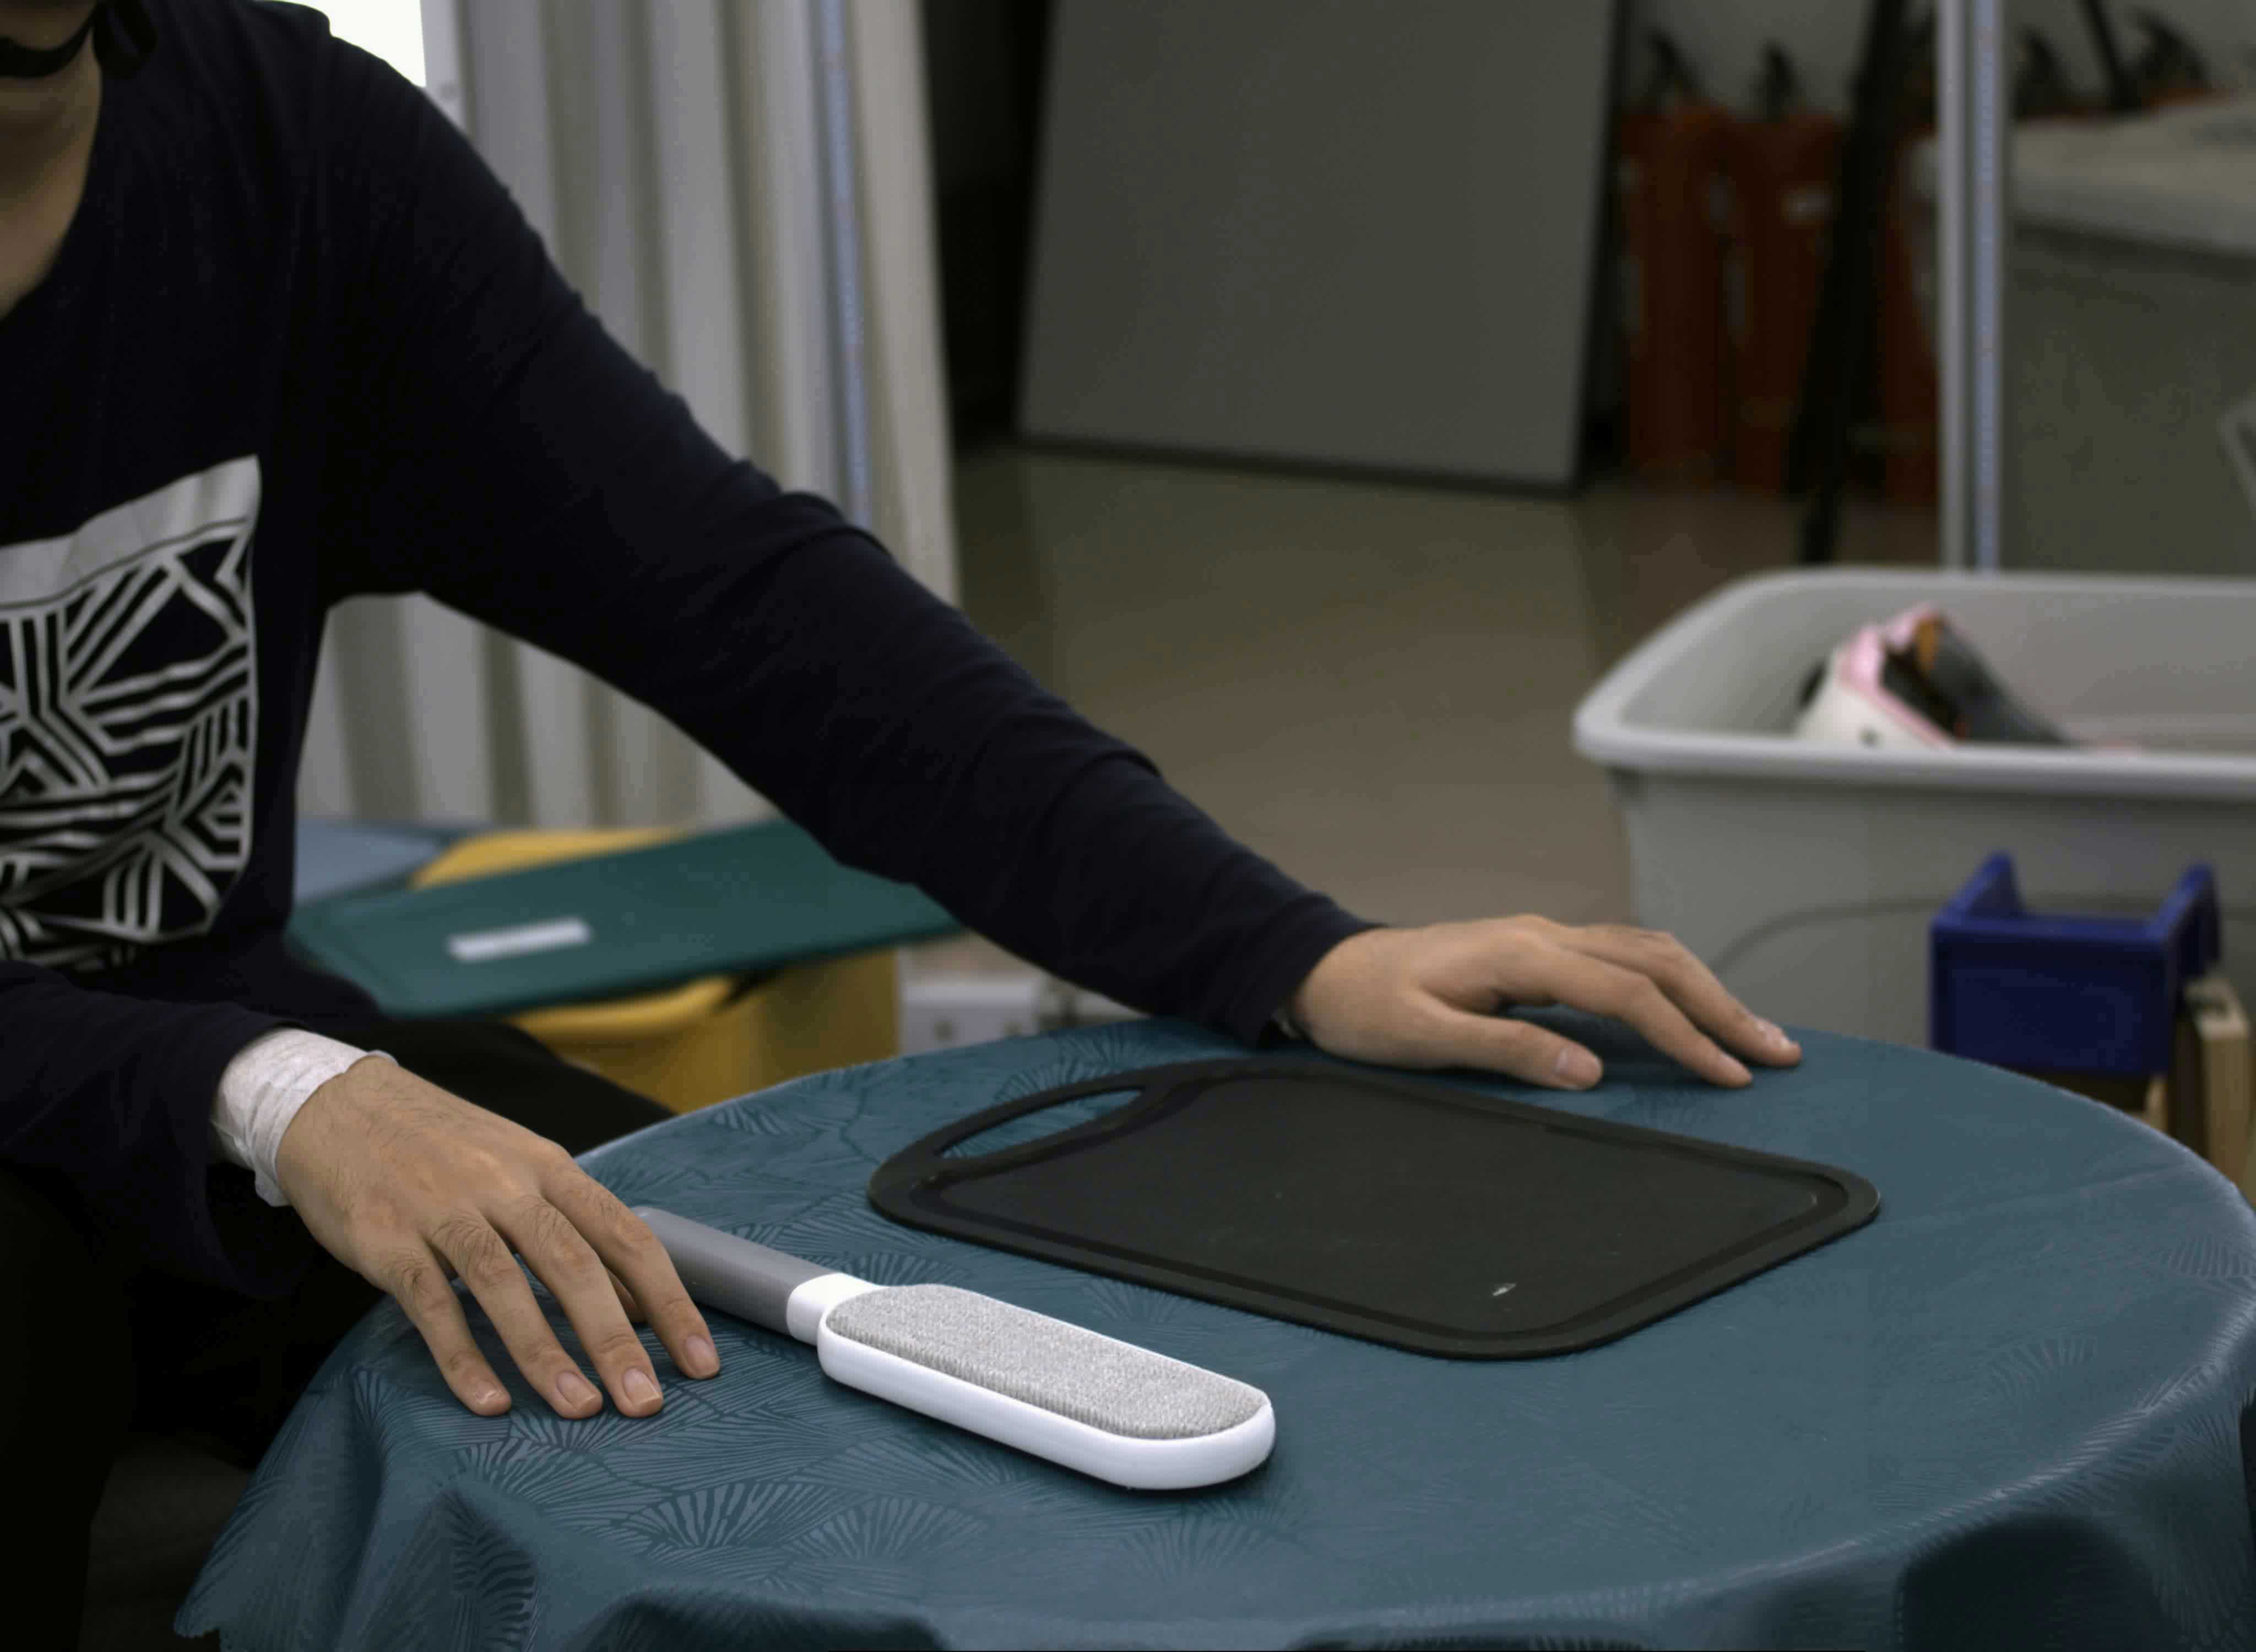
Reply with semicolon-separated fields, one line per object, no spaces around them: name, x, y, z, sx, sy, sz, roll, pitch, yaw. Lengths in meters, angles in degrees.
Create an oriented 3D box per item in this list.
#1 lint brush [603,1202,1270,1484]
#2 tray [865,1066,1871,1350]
lint brush;-0.065;0.150;1.615;0.059;0.021;0.312;-20;20;-35
tray;0.068;0.119;1.753;0.328;0.010;0.207;9;19;44
